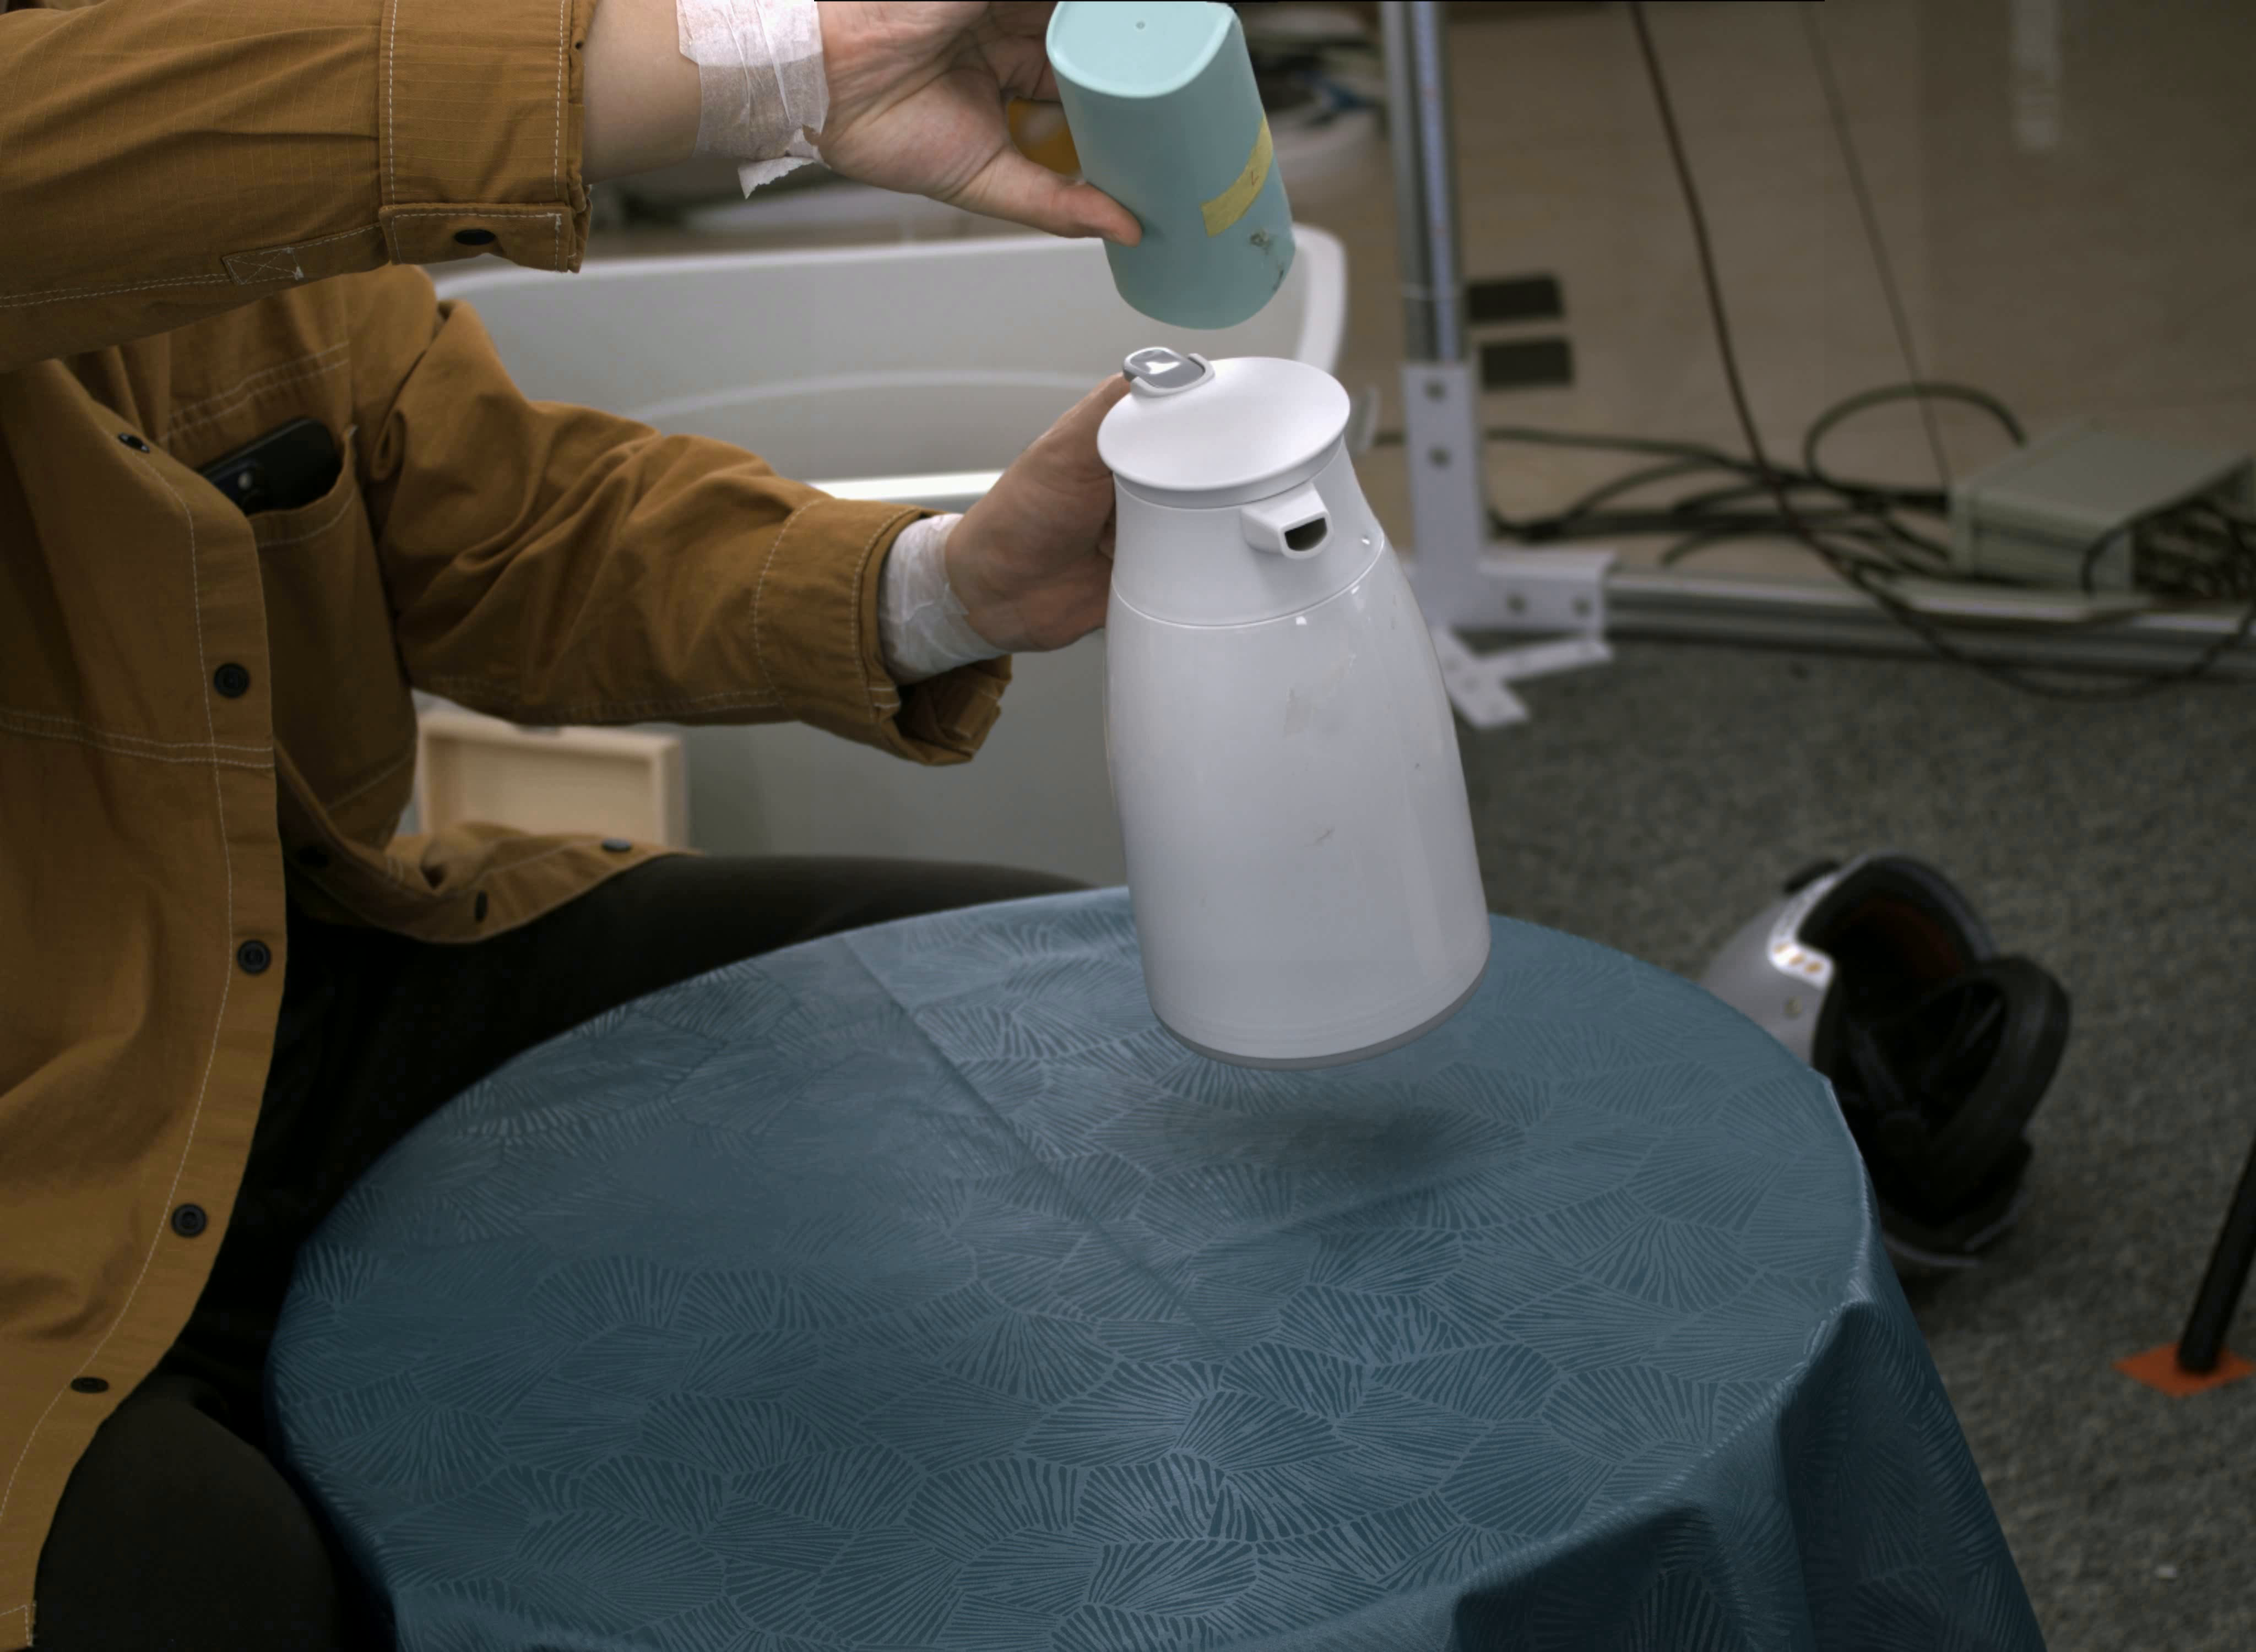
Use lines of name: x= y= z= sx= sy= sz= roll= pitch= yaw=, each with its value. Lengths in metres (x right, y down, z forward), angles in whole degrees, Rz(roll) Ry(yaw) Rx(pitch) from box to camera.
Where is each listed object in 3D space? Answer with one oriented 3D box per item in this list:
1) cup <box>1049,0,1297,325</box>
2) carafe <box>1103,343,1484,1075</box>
cup: x=0.015 y=-0.234 z=1.916 sx=0.066 sy=0.134 sz=0.066 roll=-5 pitch=59 yaw=9
carafe: x=0.044 y=-0.054 z=2.089 sx=0.132 sy=0.253 sz=0.165 roll=-21 pitch=34 yaw=-16
